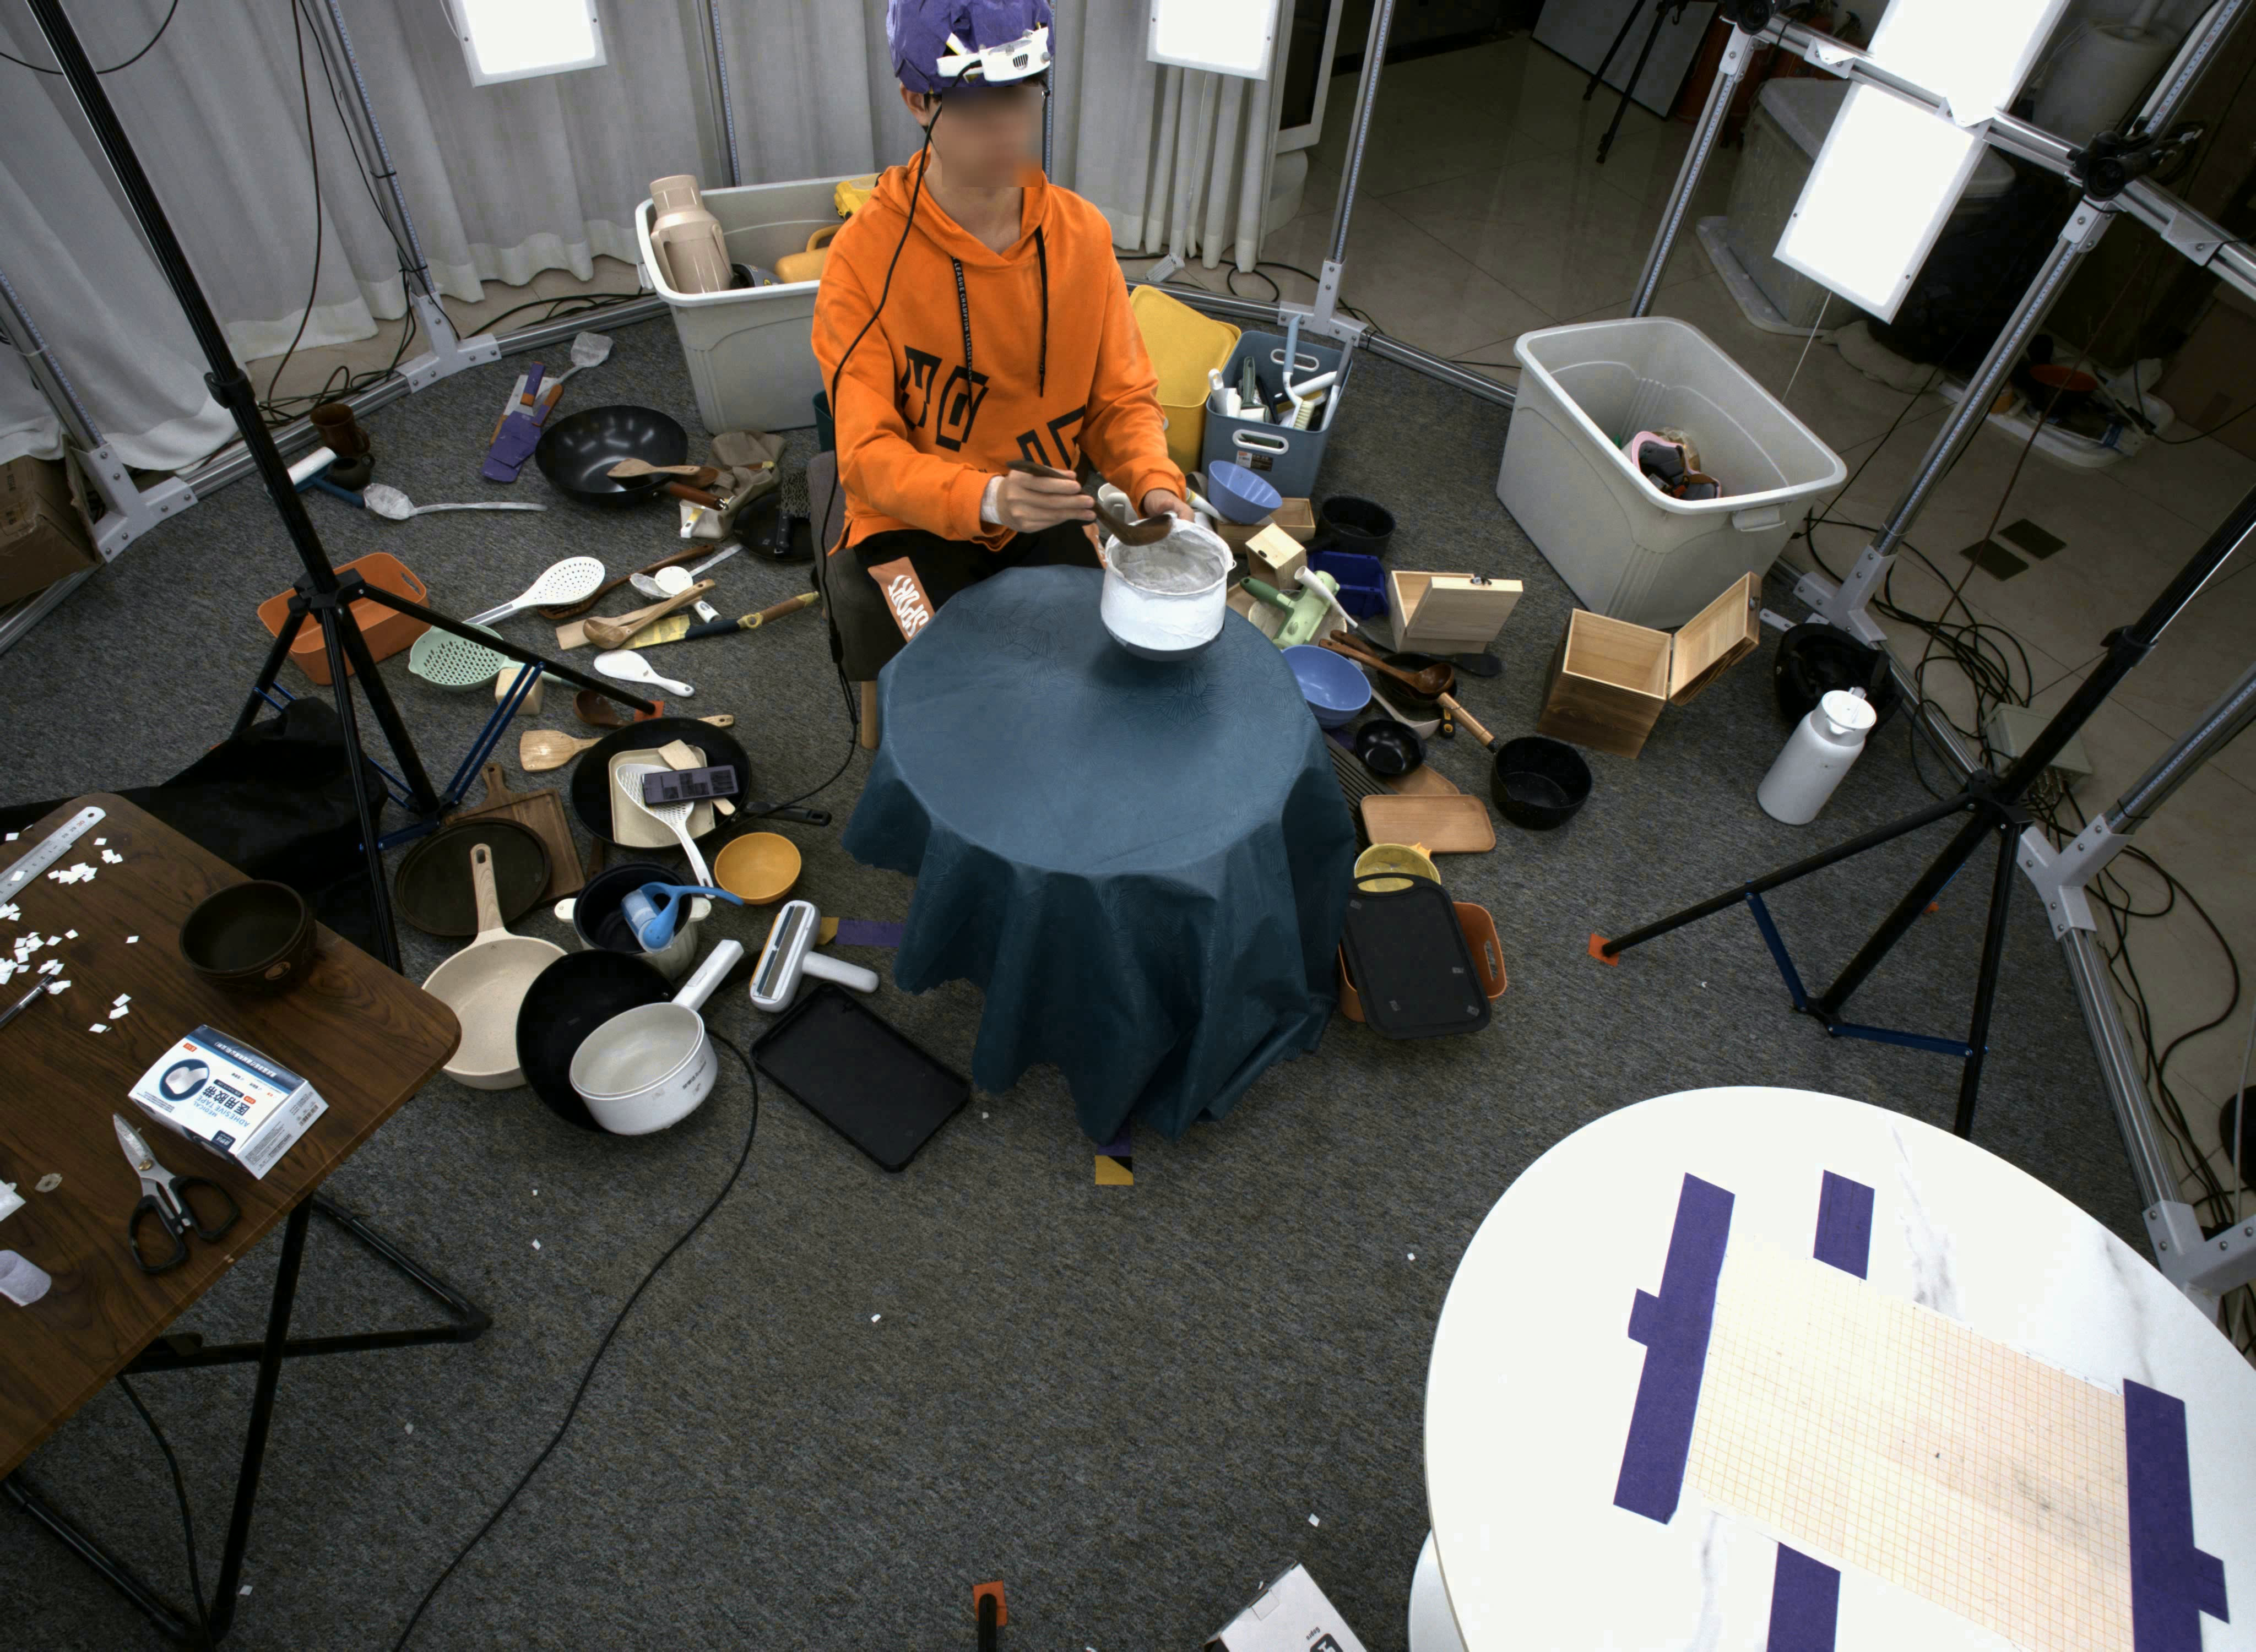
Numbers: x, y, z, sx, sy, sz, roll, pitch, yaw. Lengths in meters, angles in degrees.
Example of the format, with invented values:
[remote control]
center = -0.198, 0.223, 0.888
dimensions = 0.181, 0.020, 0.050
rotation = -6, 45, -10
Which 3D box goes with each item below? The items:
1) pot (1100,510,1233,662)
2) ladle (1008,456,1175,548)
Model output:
[pot]
center = 0.051, -0.349, 1.826
dimensions = 0.178, 0.133, 0.239
rotation = 4, 46, -3
[ladle]
center = -0.044, -0.438, 1.683
dimensions = 0.076, 0.270, 0.072
rotation = -10, 65, 44
